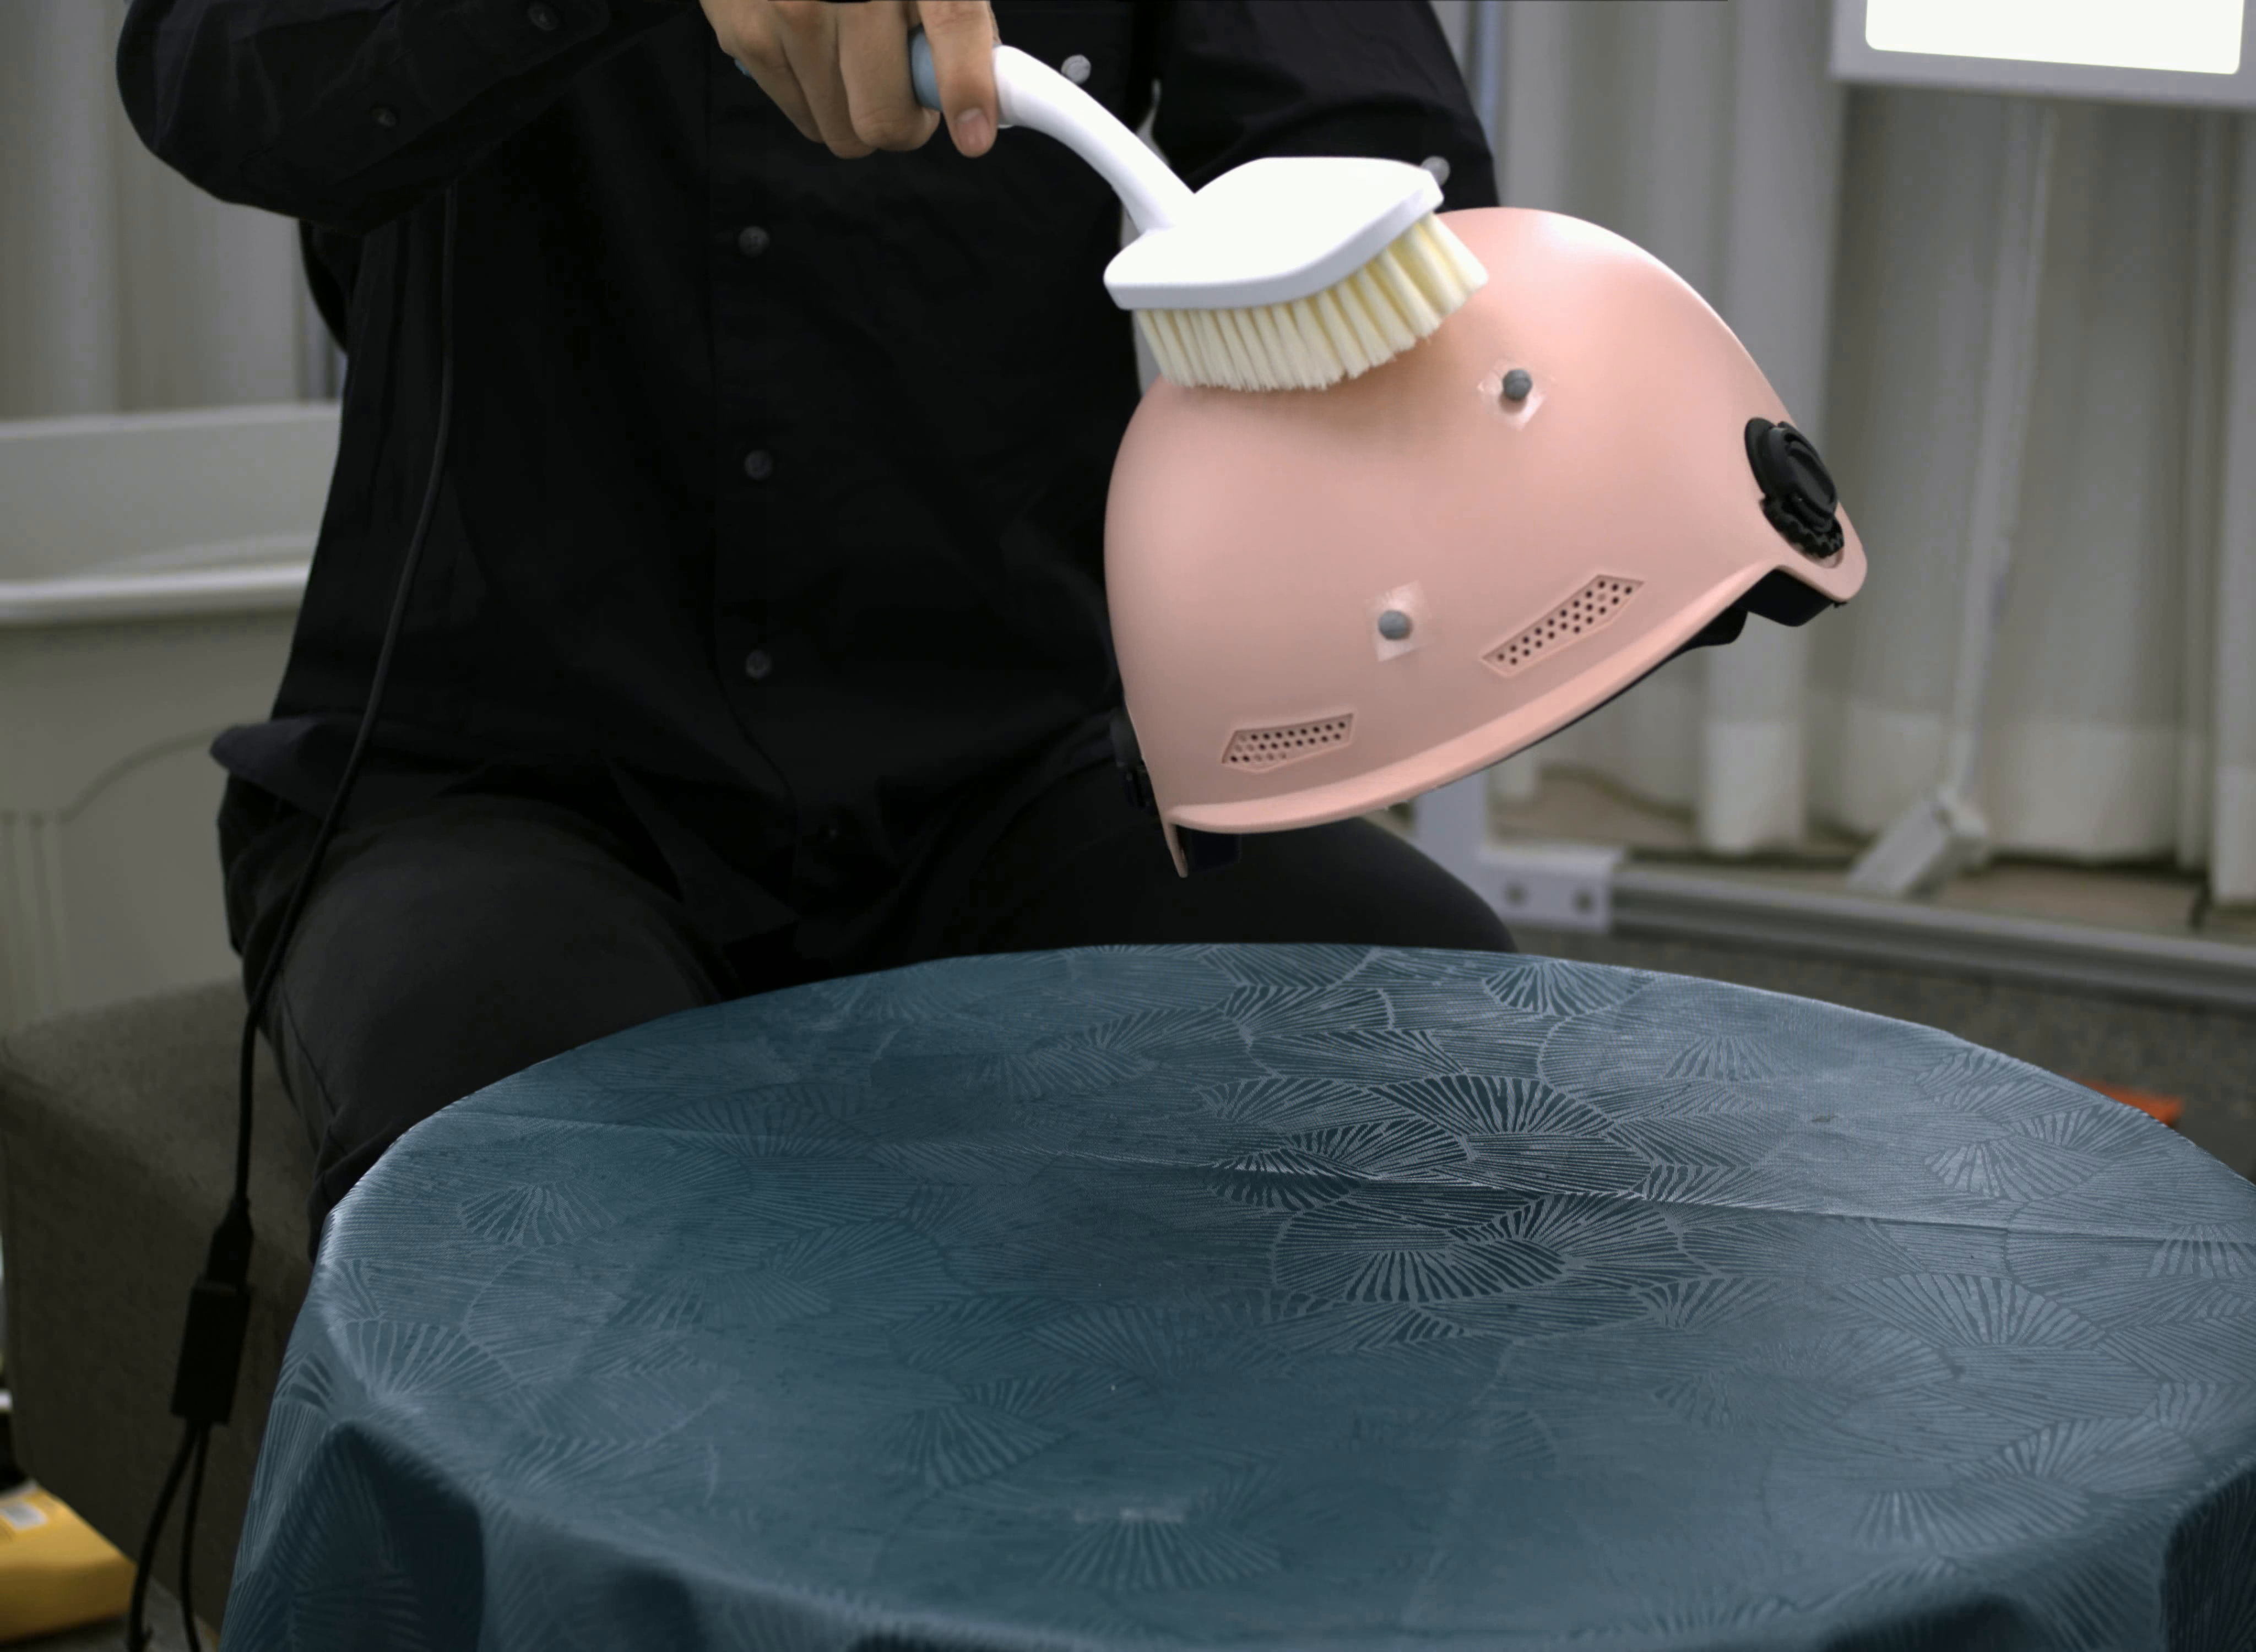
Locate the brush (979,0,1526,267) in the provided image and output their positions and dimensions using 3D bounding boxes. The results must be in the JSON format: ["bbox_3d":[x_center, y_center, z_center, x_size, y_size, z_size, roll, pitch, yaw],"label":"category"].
[{"bbox_3d":[0.009,-0.222,1.600,0.084,0.085,0.321,0,15,-40],"label":"brush"}]

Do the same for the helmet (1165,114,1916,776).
[{"bbox_3d":[0.107,-0.129,1.604,0.233,0.160,0.265,-22,9,14],"label":"helmet"}]
